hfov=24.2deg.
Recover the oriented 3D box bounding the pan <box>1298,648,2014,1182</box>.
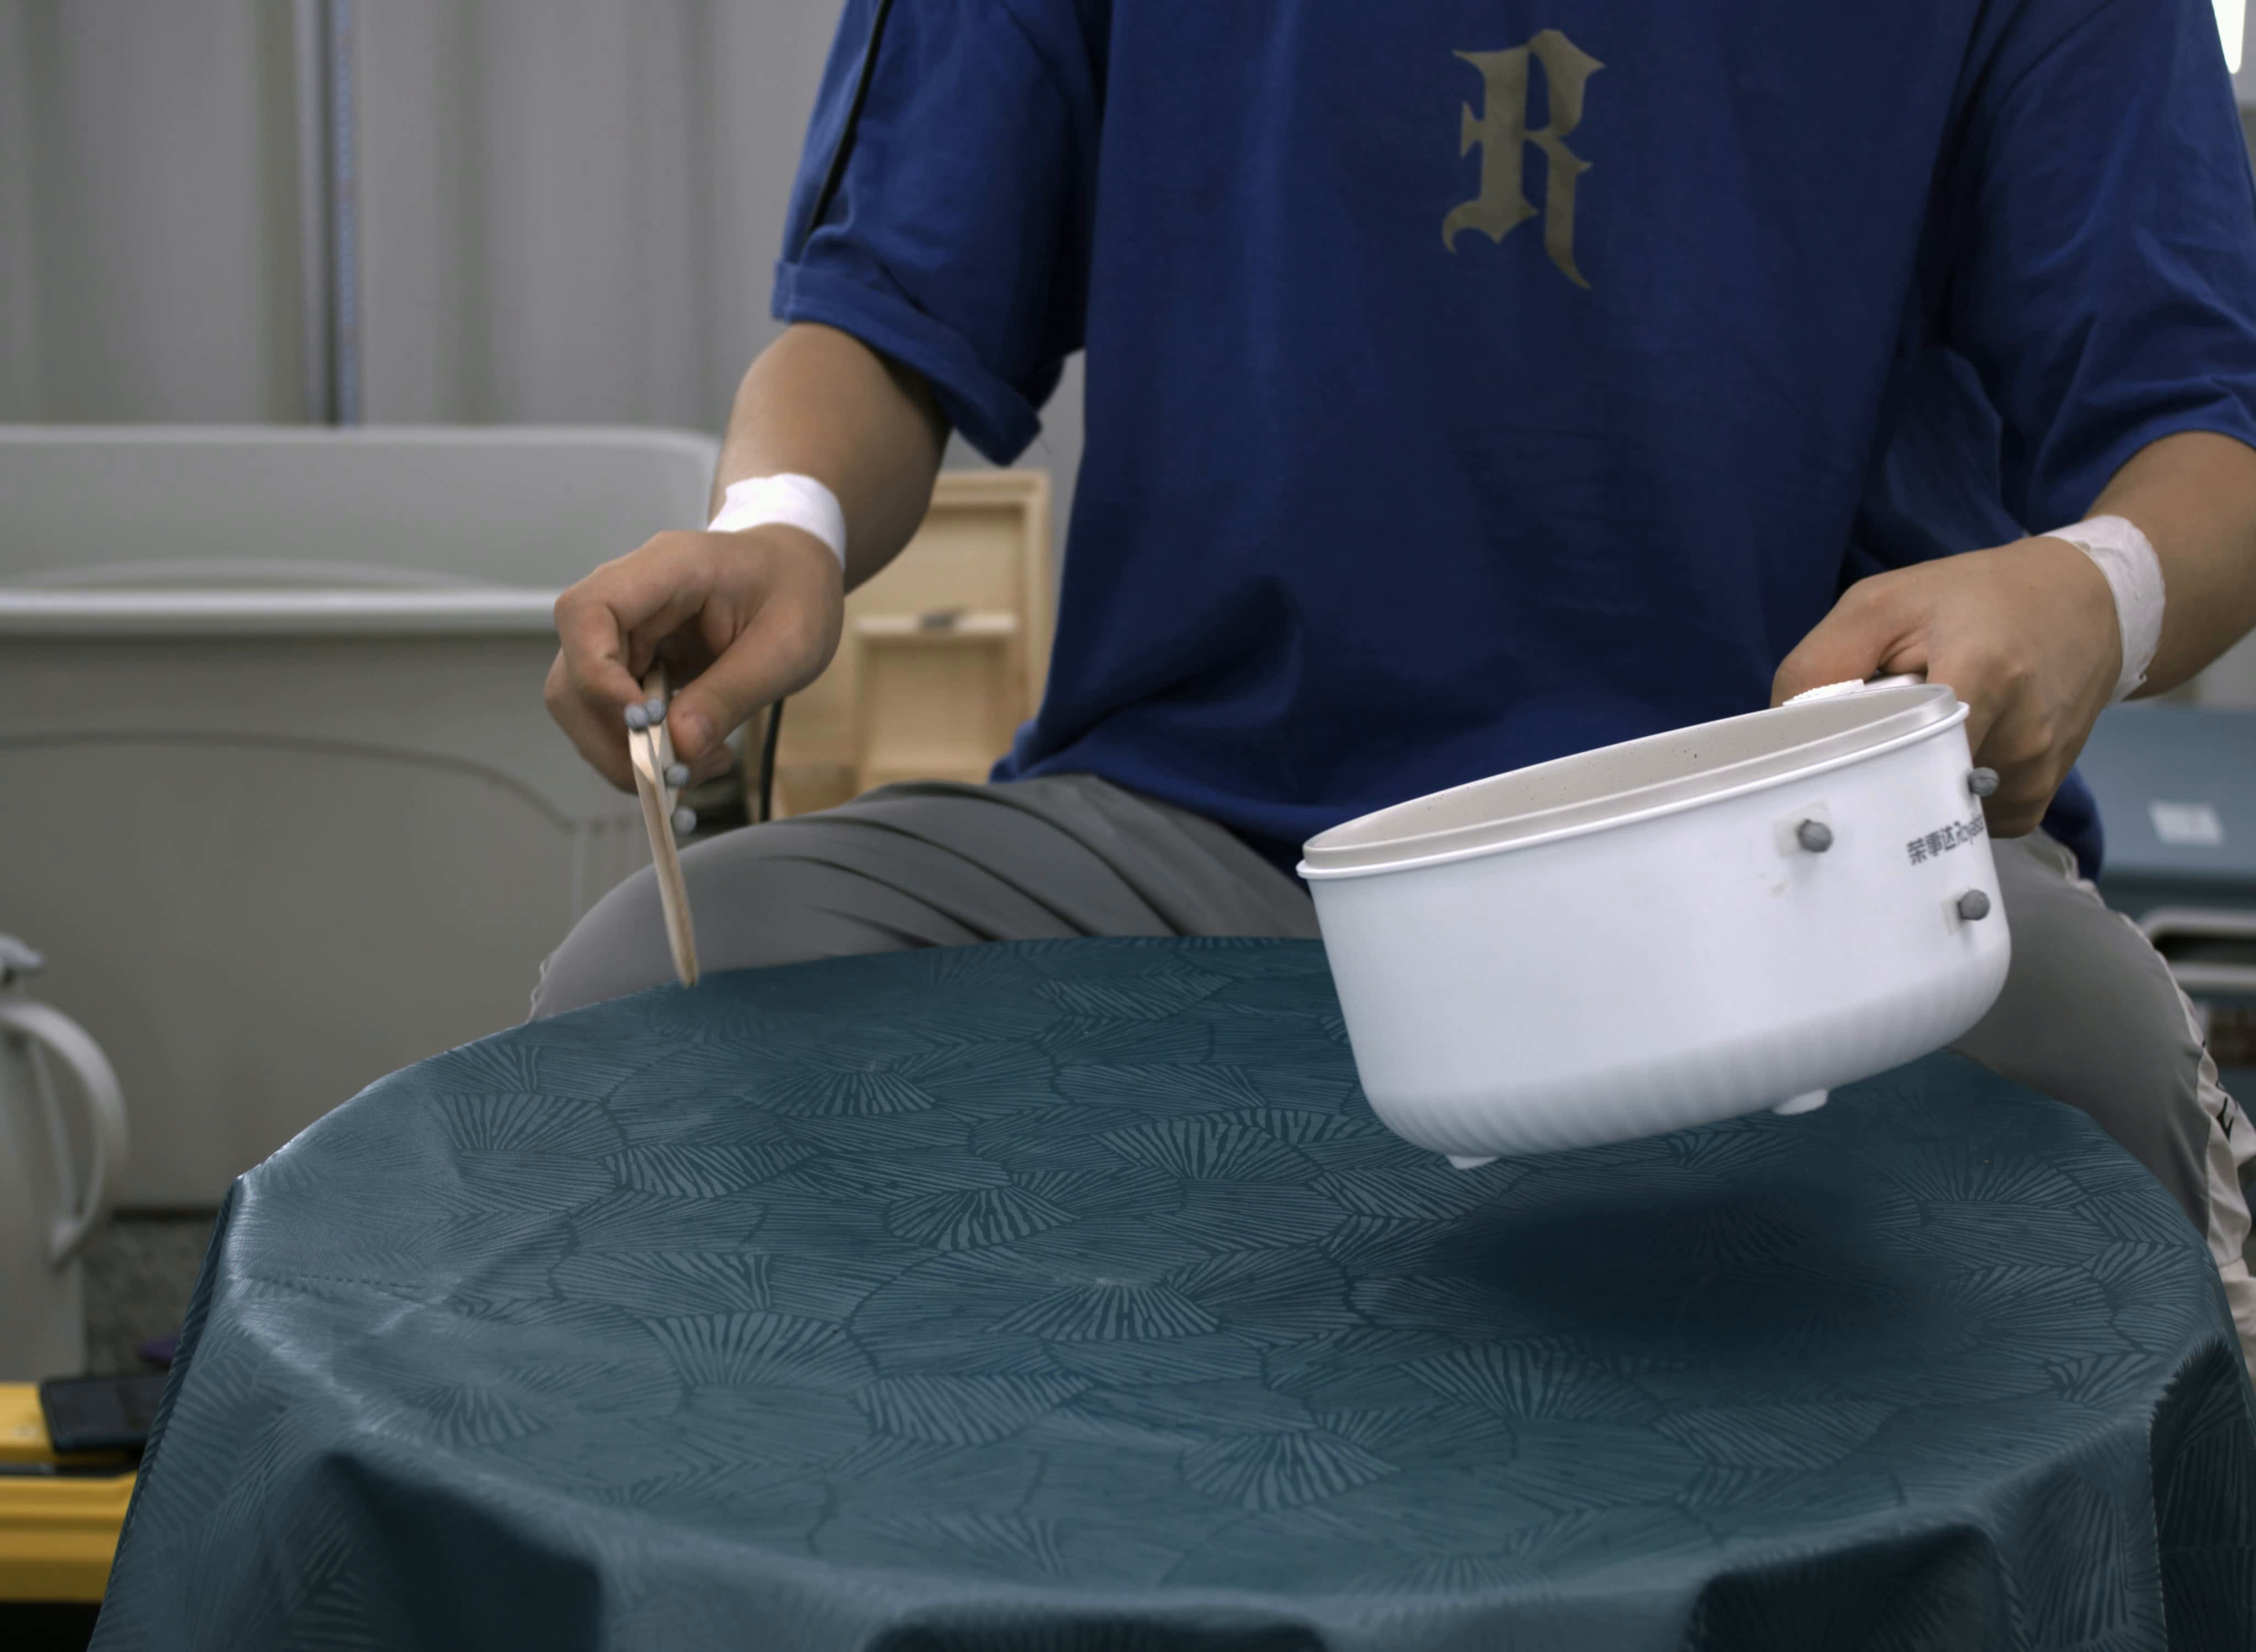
[{"bbox_3d":[0.193,0.020,1.604,0.199,0.102,0.356,-14,3,29],"label":"pan"}]

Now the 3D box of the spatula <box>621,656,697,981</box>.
[{"bbox_3d":[-0.151,-0.018,1.718,0.010,0.073,0.291,-14,14,-1],"label":"spatula"}]
